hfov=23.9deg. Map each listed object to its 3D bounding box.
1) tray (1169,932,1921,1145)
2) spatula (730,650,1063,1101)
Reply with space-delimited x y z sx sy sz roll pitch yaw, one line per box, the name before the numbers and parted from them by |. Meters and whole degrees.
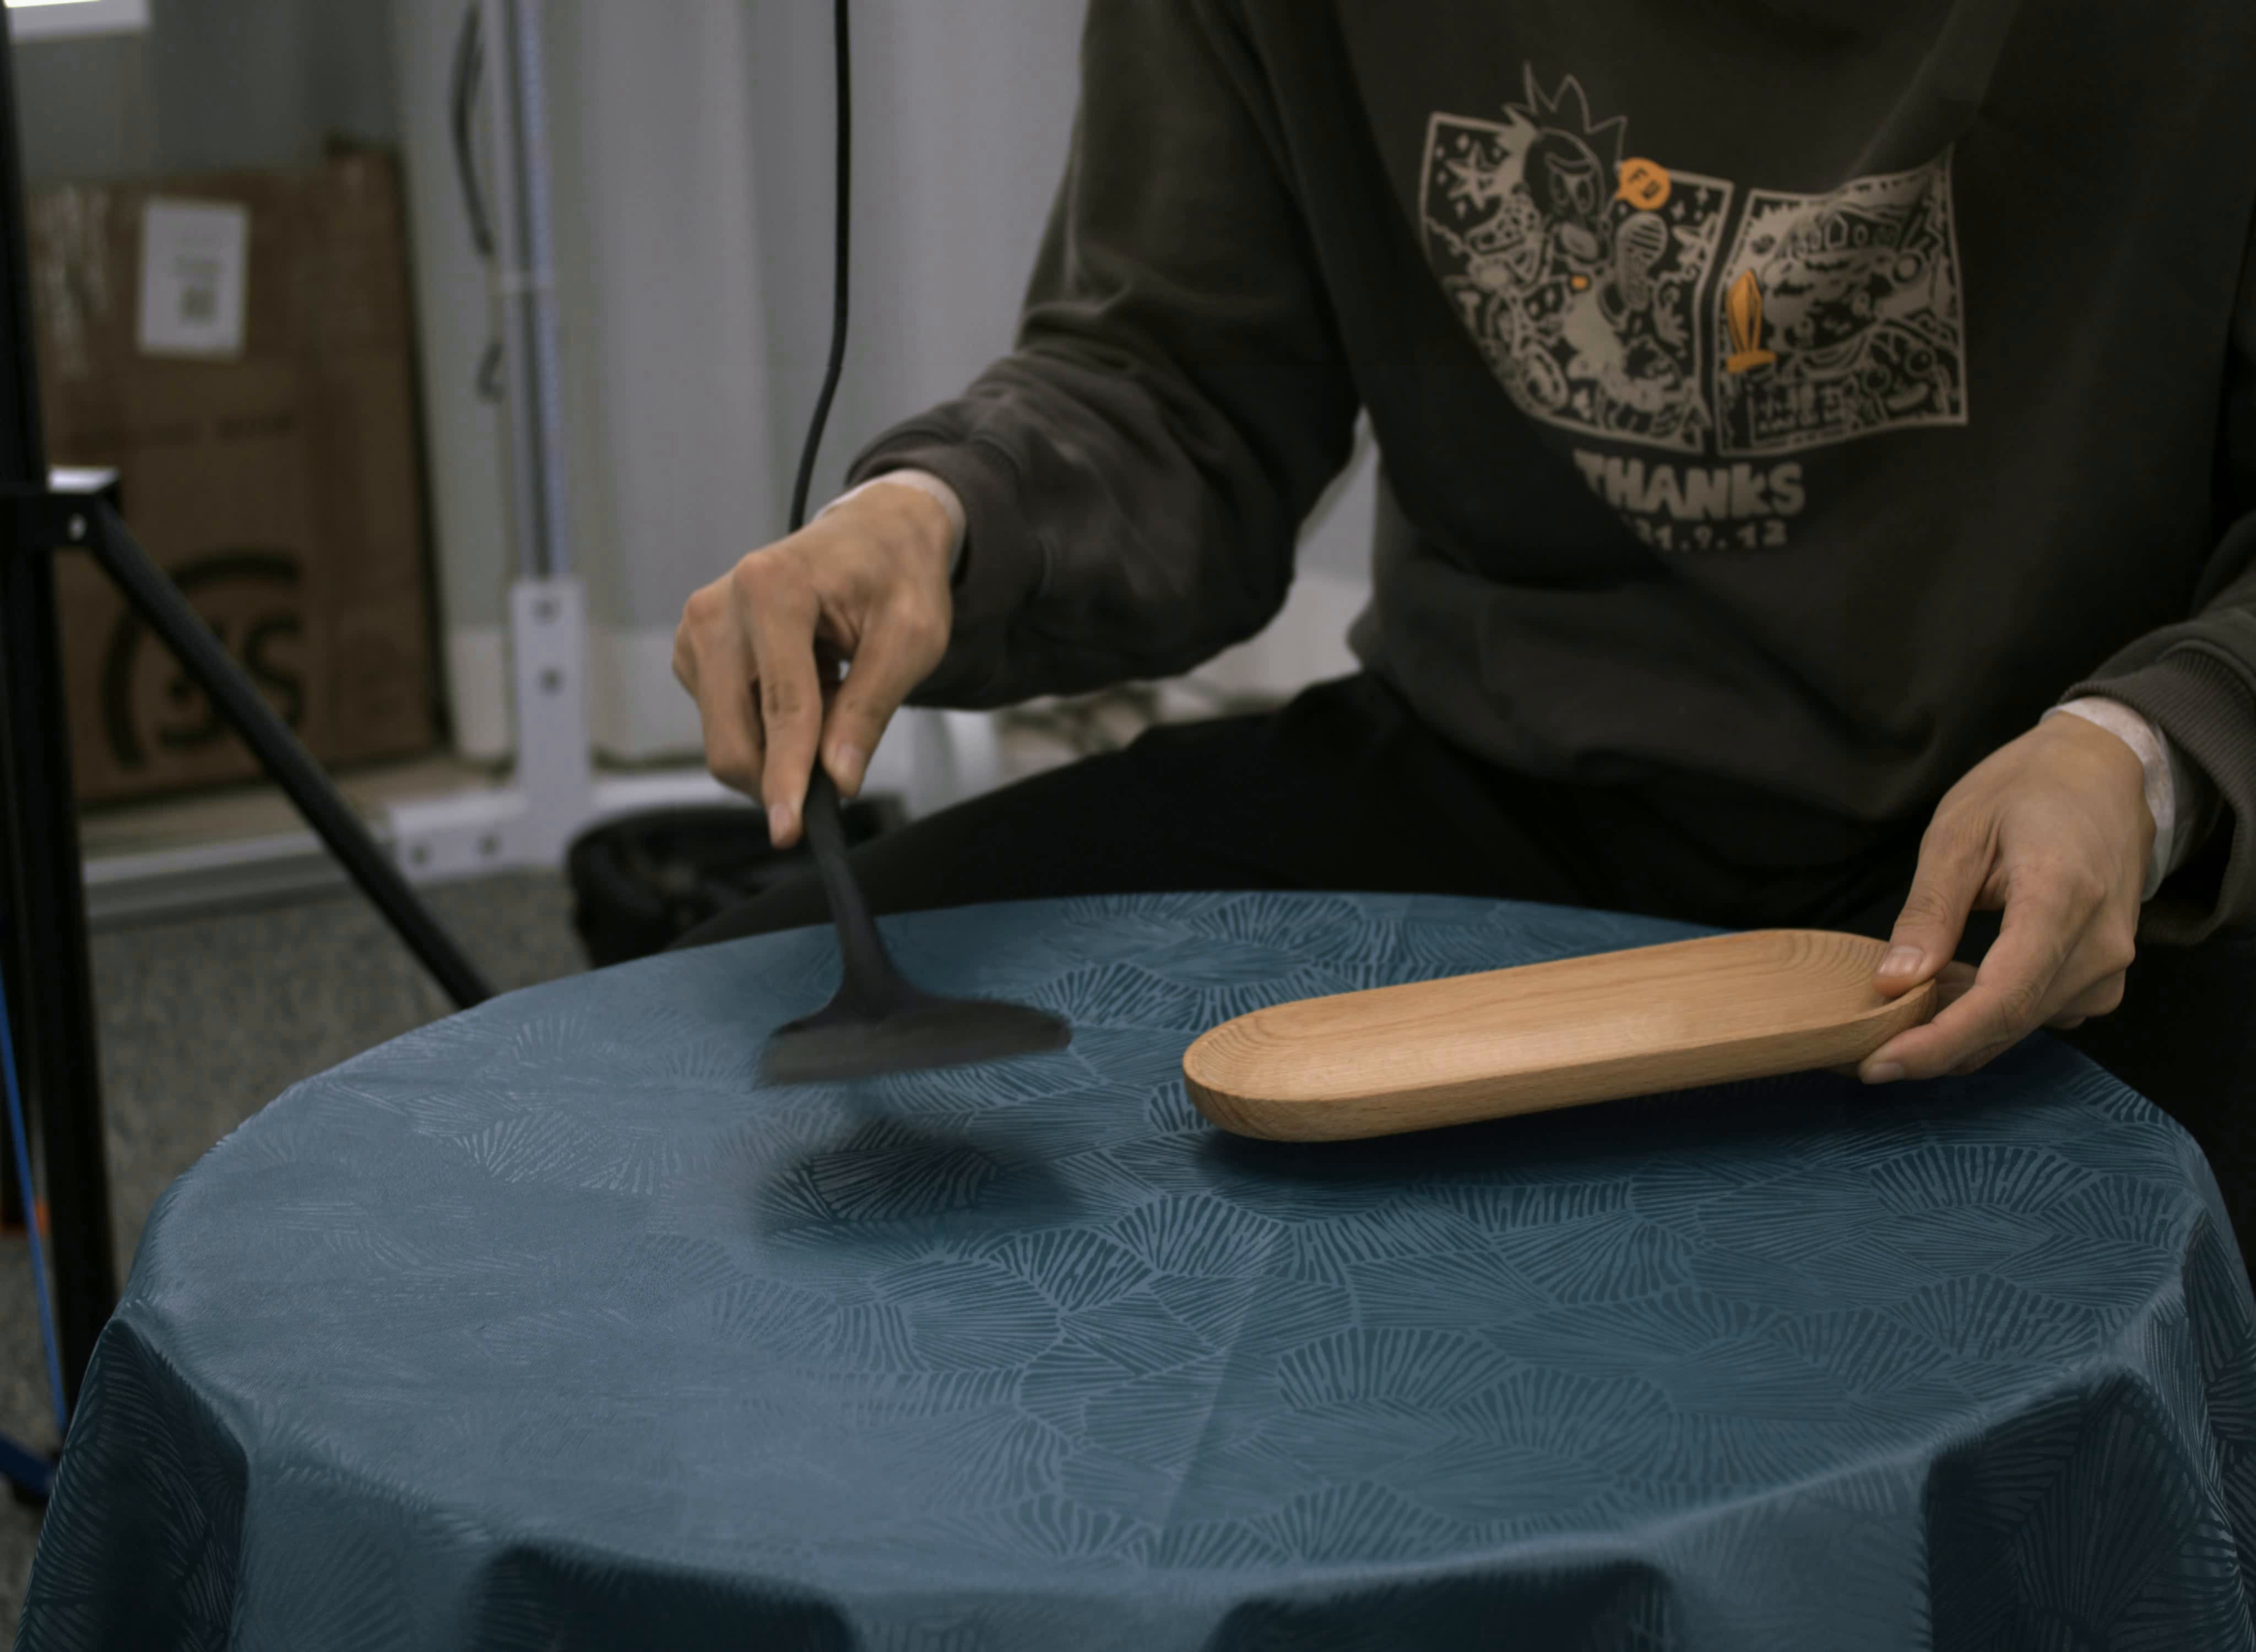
tray | 0.127 0.065 1.601 0.229 0.020 0.103 -9 15 -6
spatula | -0.095 0.010 1.697 0.098 0.040 0.331 -6 31 -9
